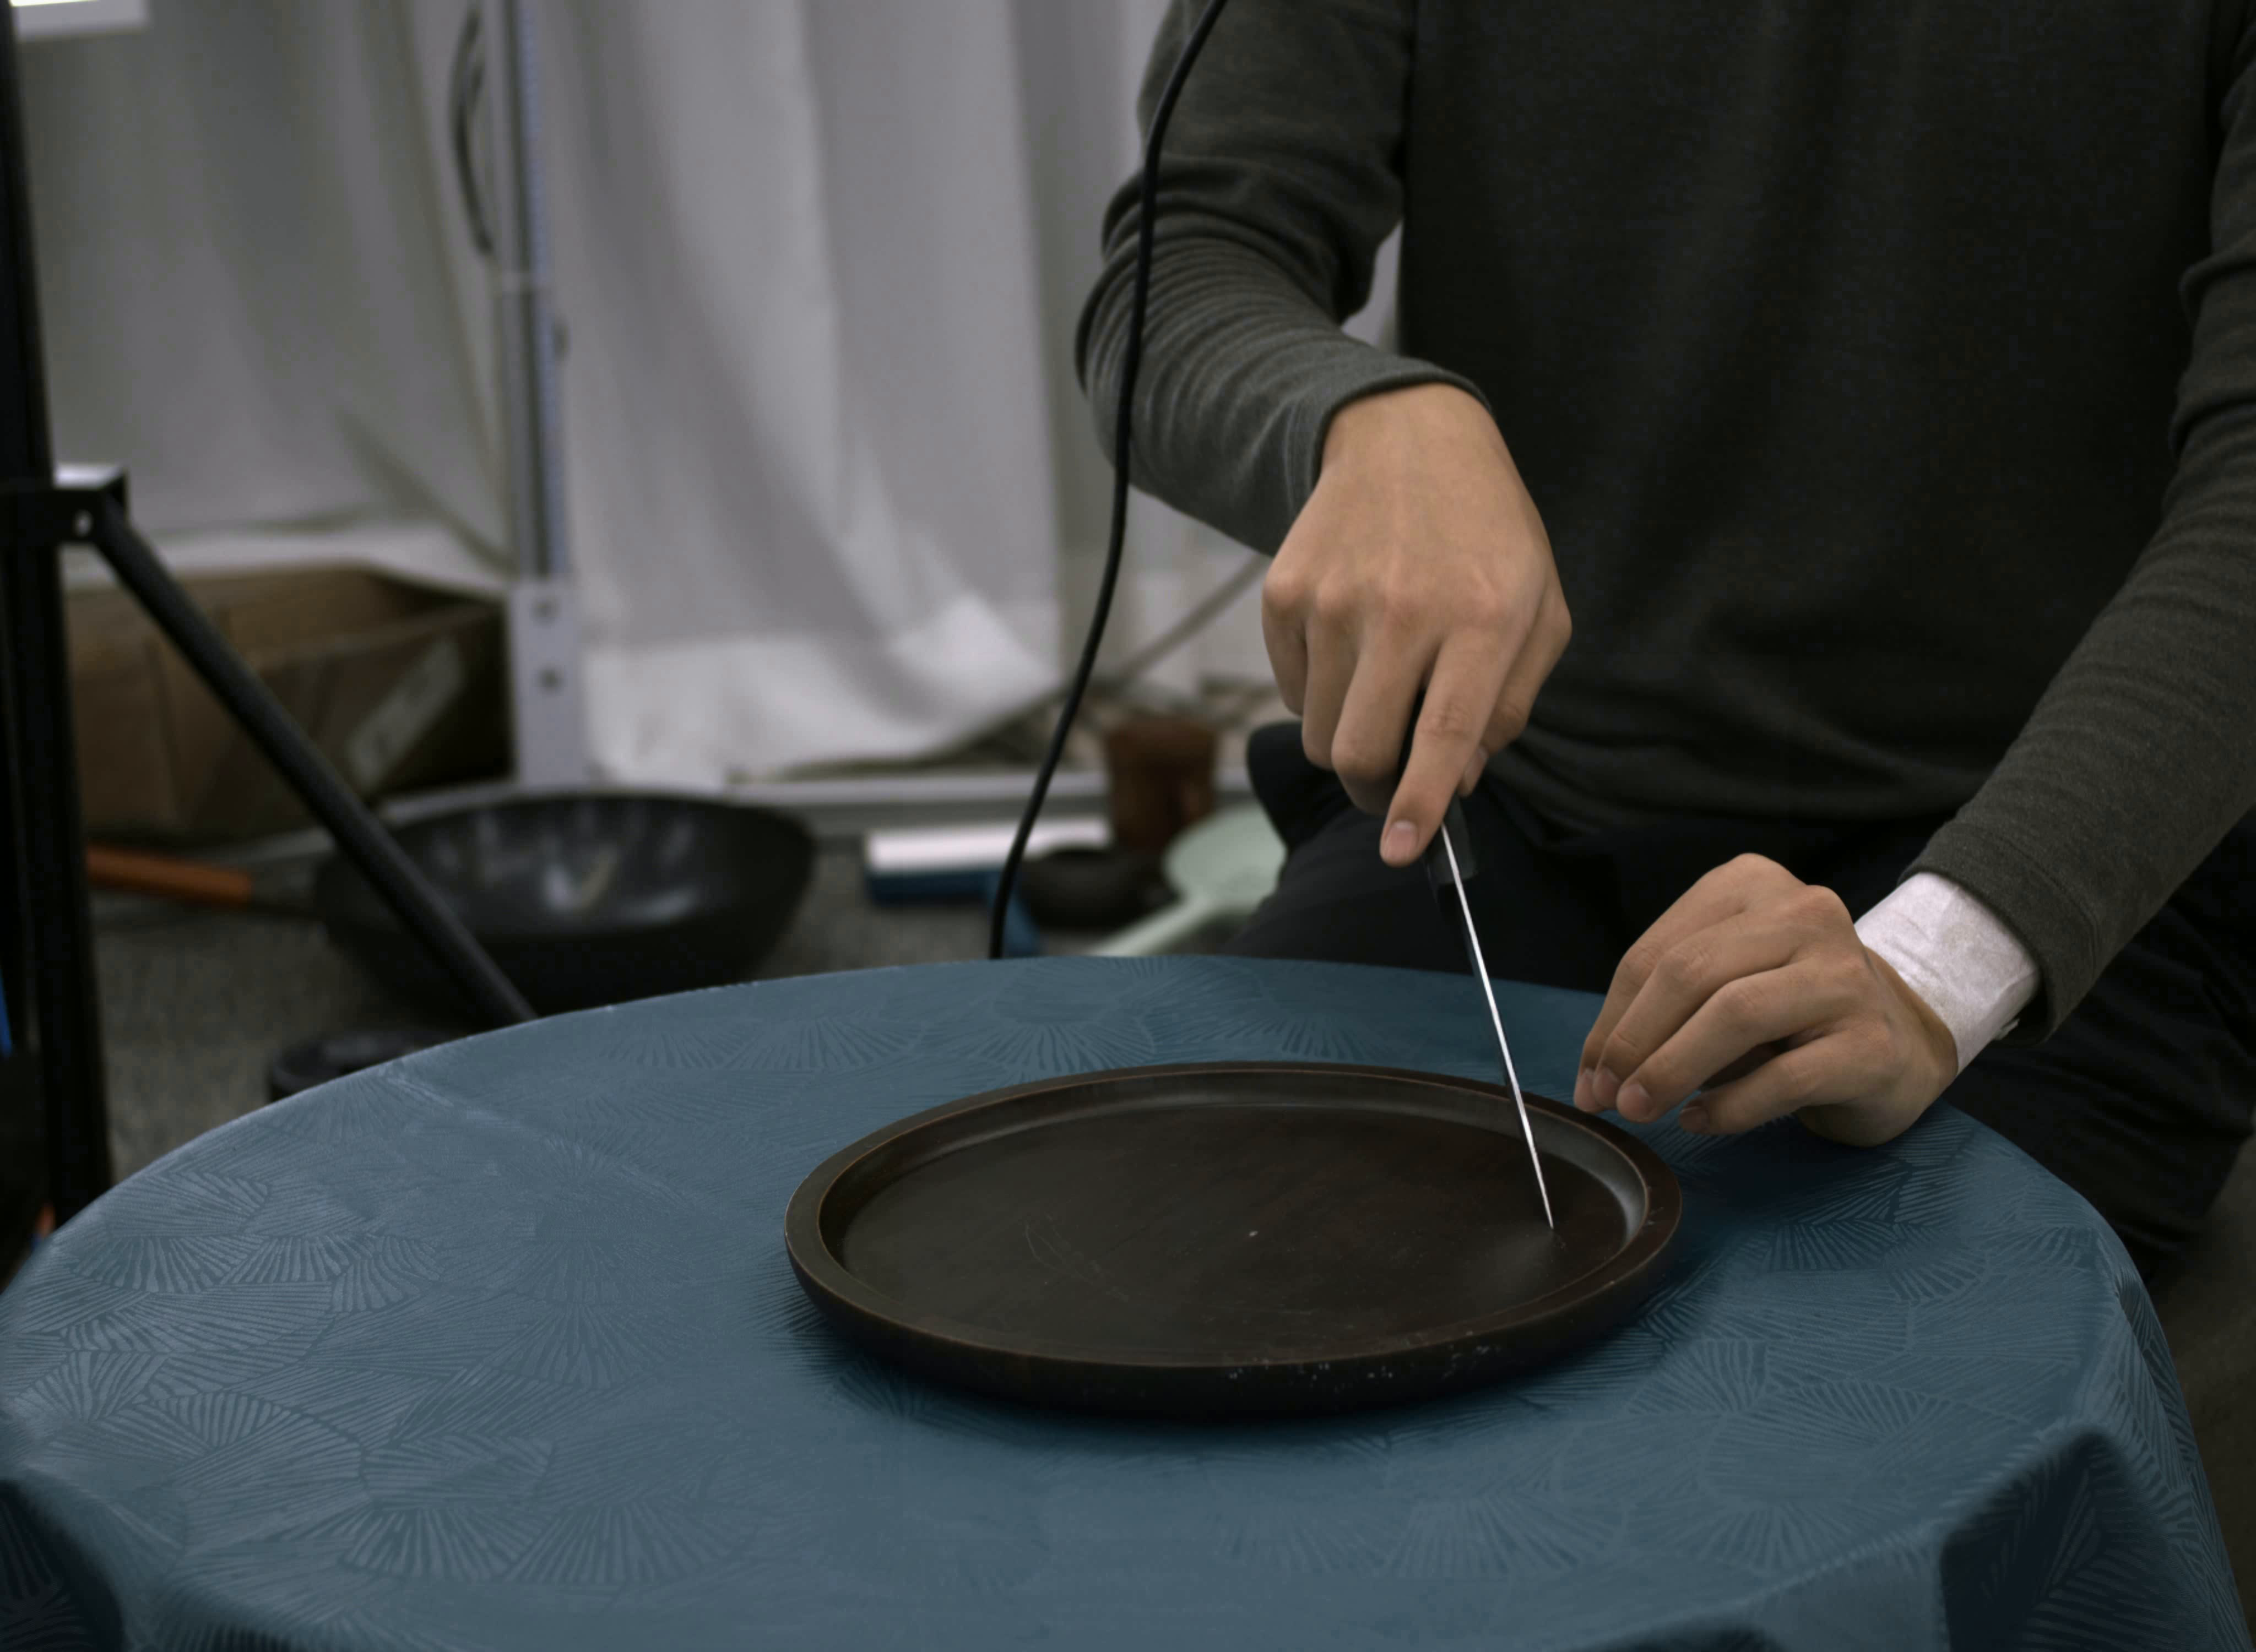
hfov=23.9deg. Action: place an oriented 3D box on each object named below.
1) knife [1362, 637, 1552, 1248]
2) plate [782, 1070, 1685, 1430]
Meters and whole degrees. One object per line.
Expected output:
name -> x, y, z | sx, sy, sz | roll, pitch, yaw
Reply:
knife -> 0.099, 0.029, 1.558 | 0.016, 0.024, 0.242 | -4, 47, -10
plate -> 0.029, 0.116, 1.490 | 0.253, 0.029, 0.256 | -3, 17, -1
